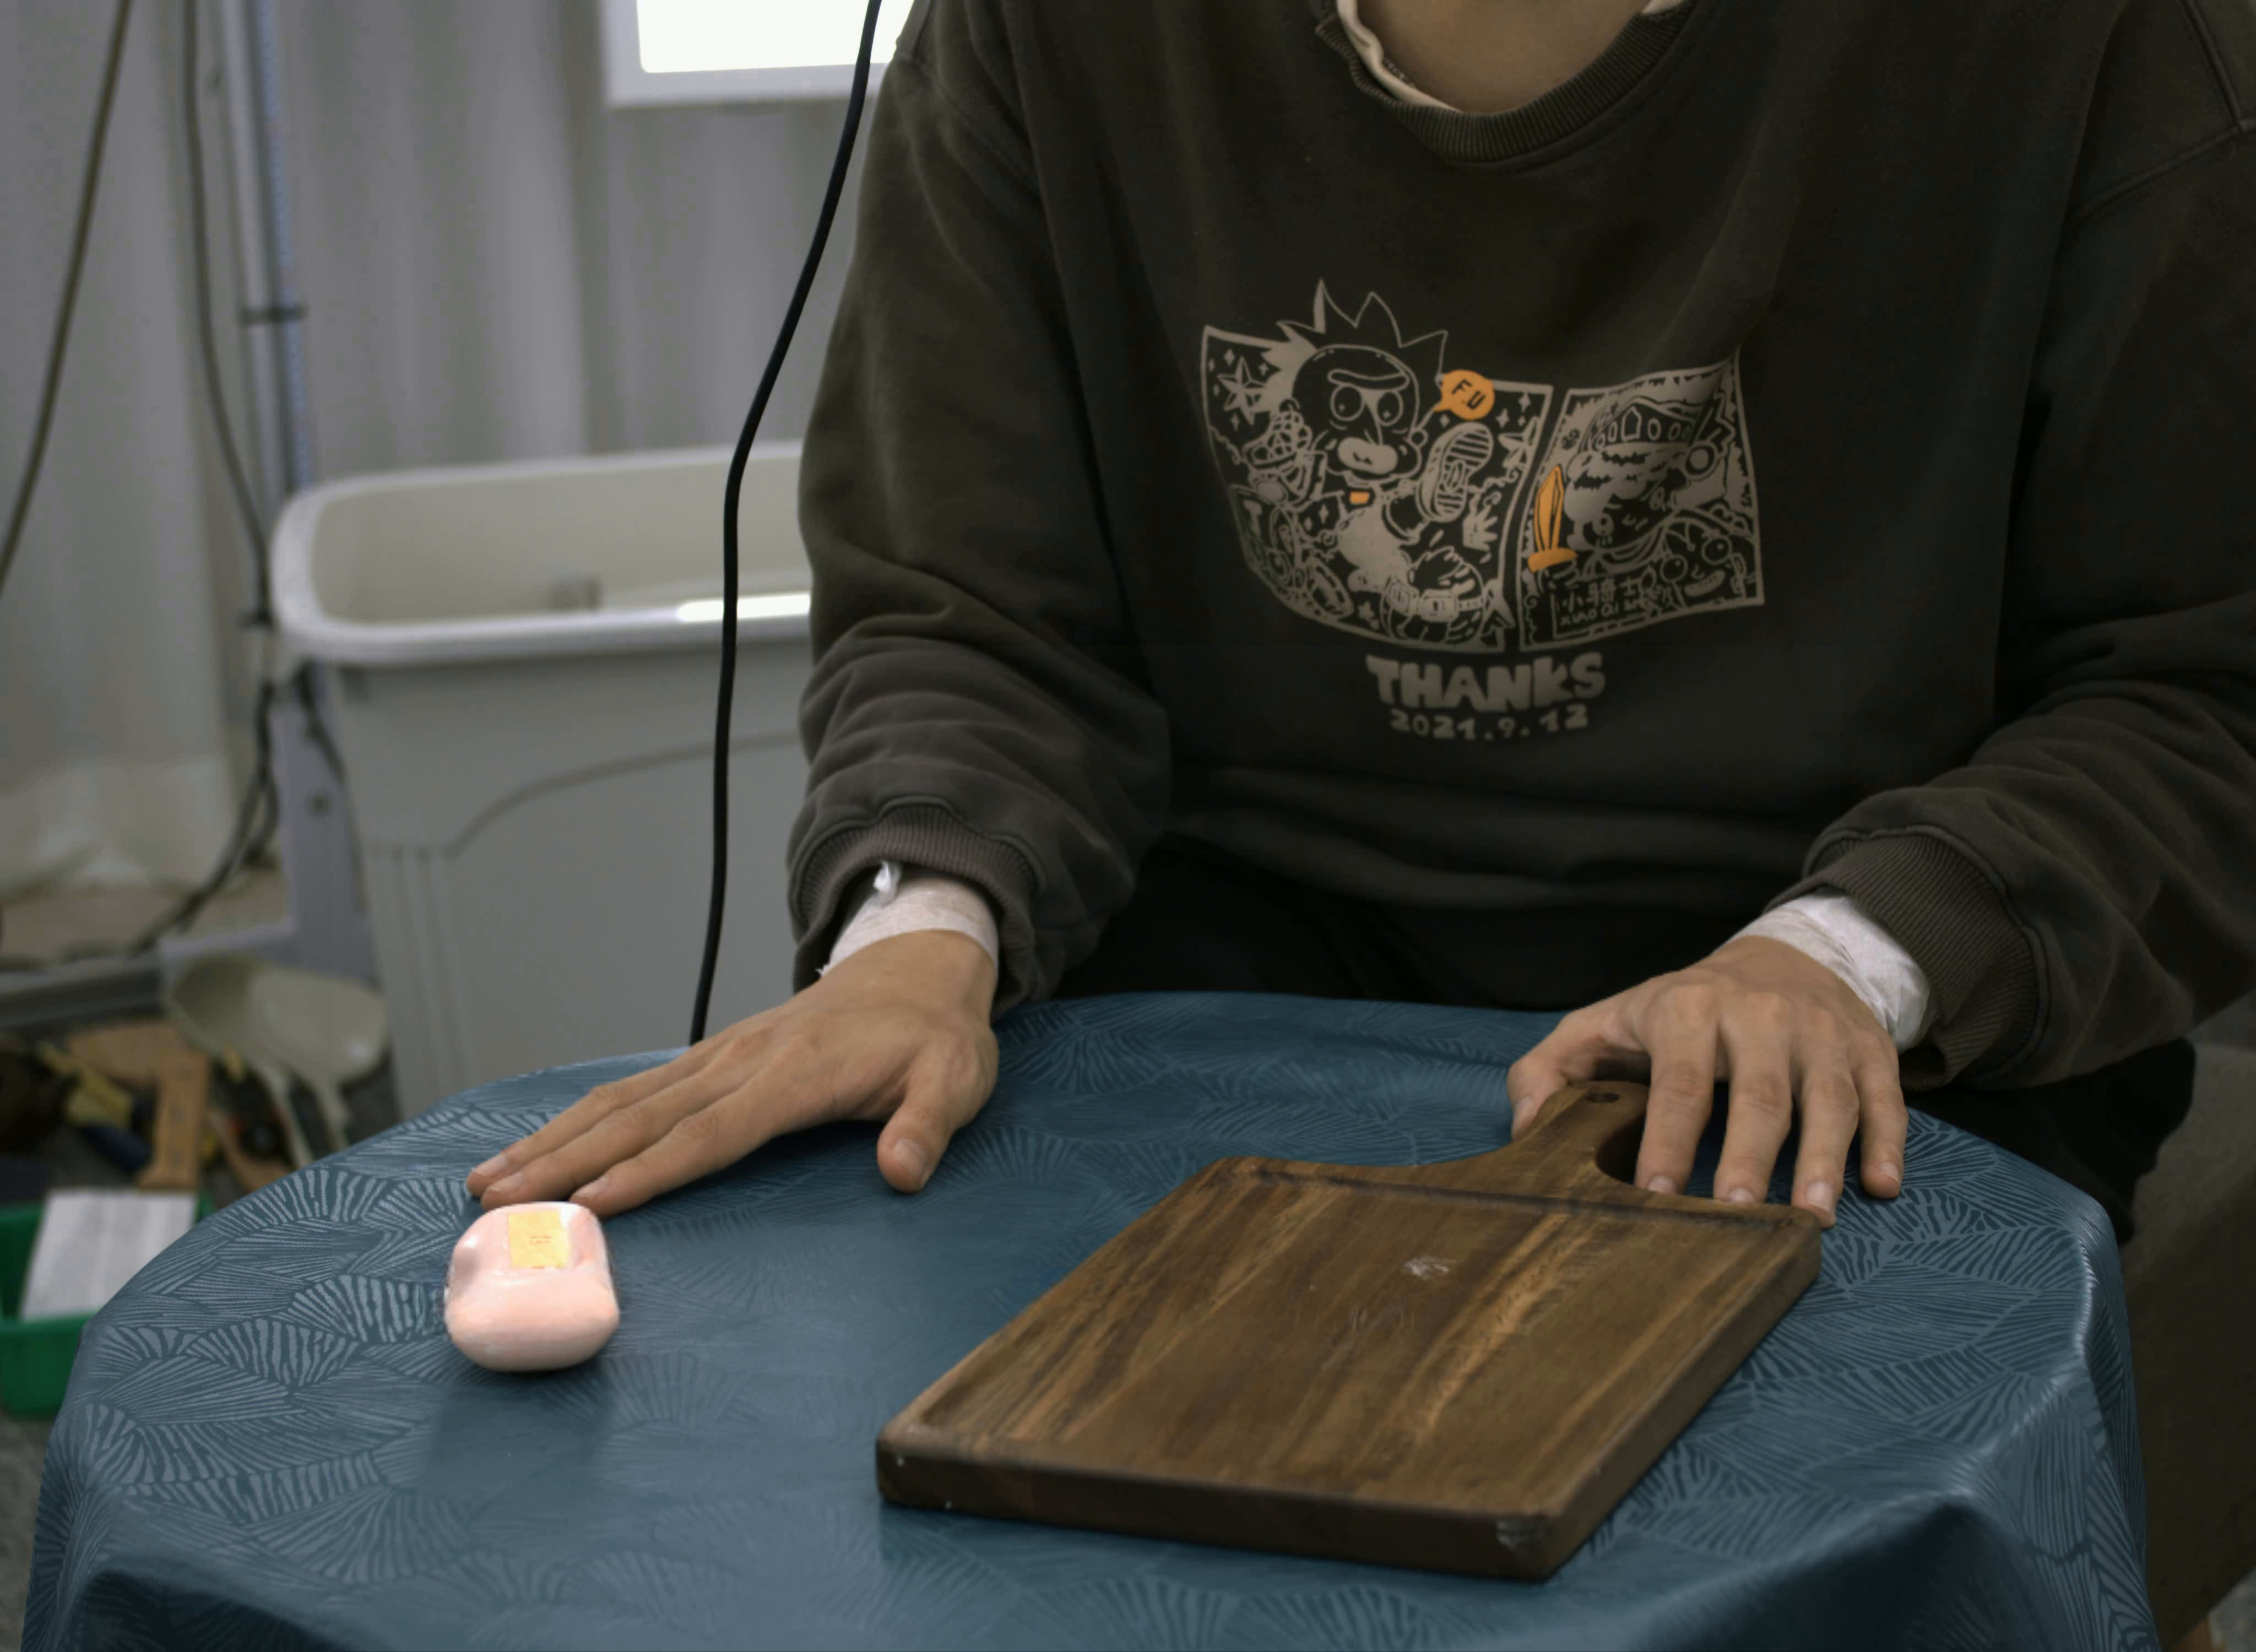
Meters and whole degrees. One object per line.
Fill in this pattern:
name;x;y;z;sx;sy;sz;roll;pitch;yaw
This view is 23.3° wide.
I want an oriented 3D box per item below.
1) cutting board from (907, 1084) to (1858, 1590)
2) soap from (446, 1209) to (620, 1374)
cutting board;0.097;0.137;1.581;0.201;0.023;0.353;4;16;24
soap;-0.175;0.138;1.619;0.050;0.030;0.095;-3;13;-4
